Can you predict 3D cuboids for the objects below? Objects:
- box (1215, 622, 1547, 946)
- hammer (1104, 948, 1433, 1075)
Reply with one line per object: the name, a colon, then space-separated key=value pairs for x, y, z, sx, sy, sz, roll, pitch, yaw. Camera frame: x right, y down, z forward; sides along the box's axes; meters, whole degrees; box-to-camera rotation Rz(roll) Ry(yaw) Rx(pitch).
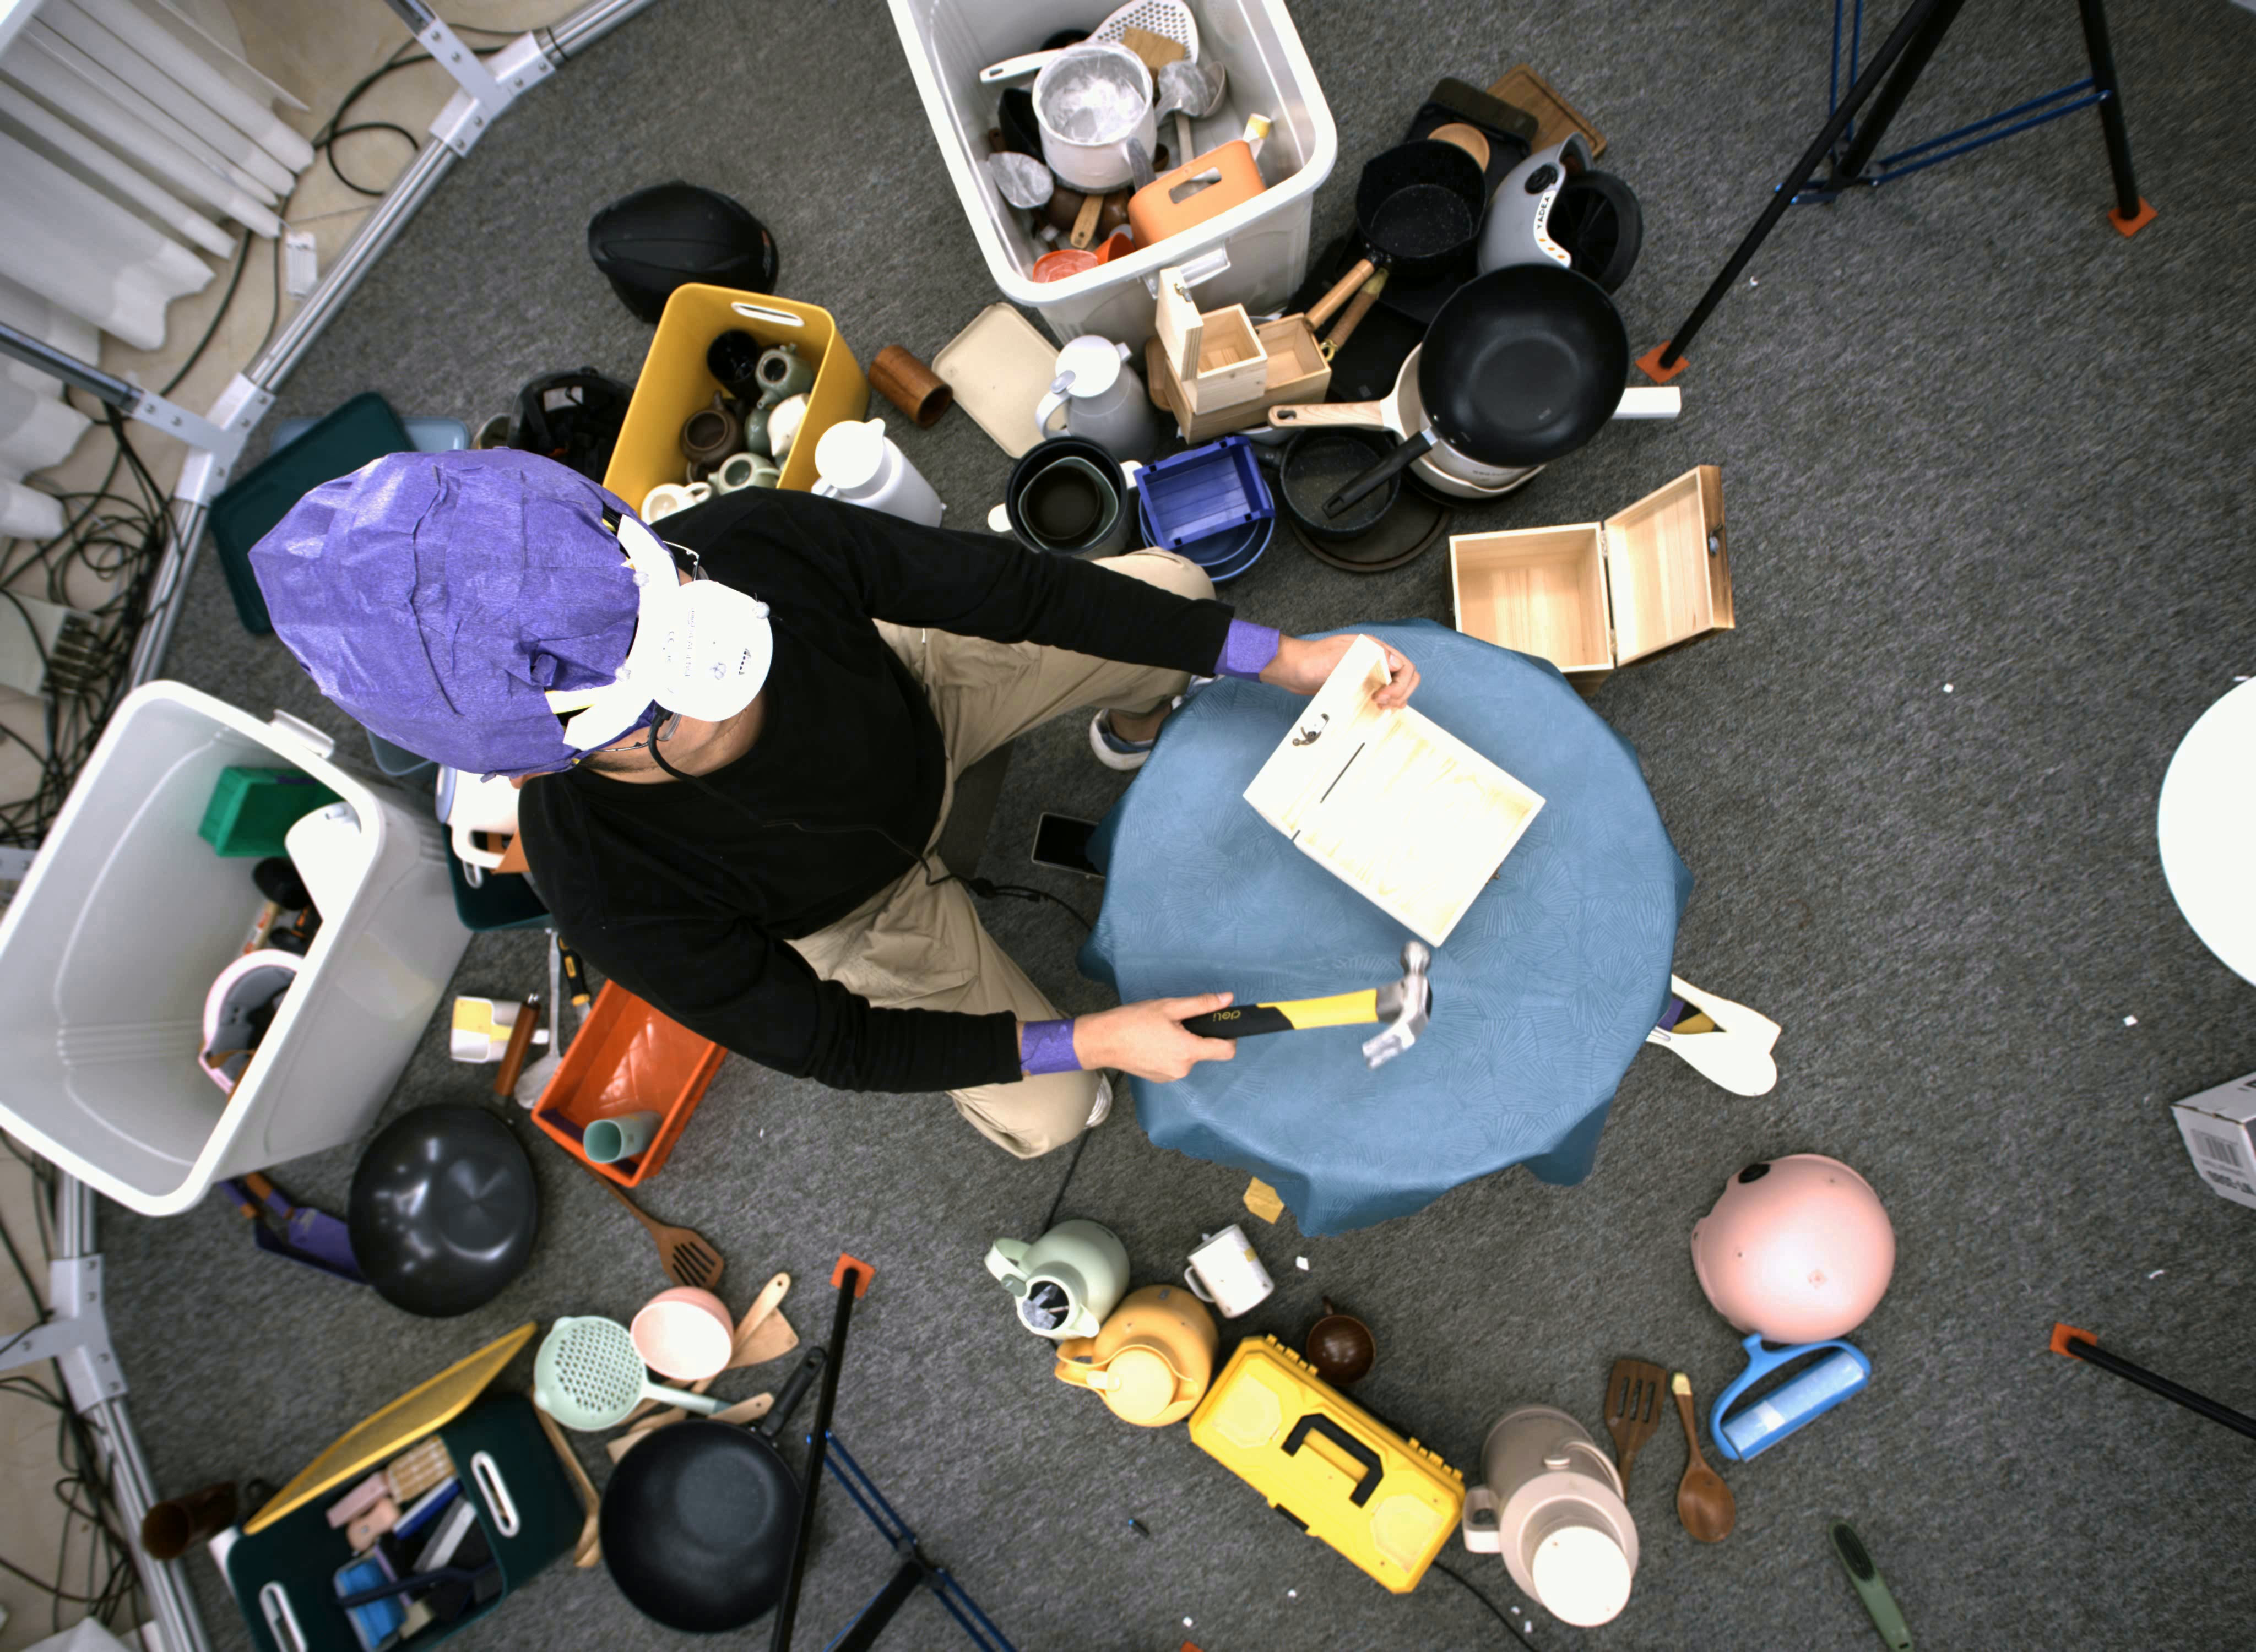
box: x=0.257 y=-0.030 z=1.342 sx=0.264 sy=0.253 sz=0.182 roll=36 pitch=94 yaw=10
hammer: x=0.132 y=0.191 z=1.379 sx=0.341 sy=0.033 sz=0.128 roll=-7 pitch=44 yaw=25
